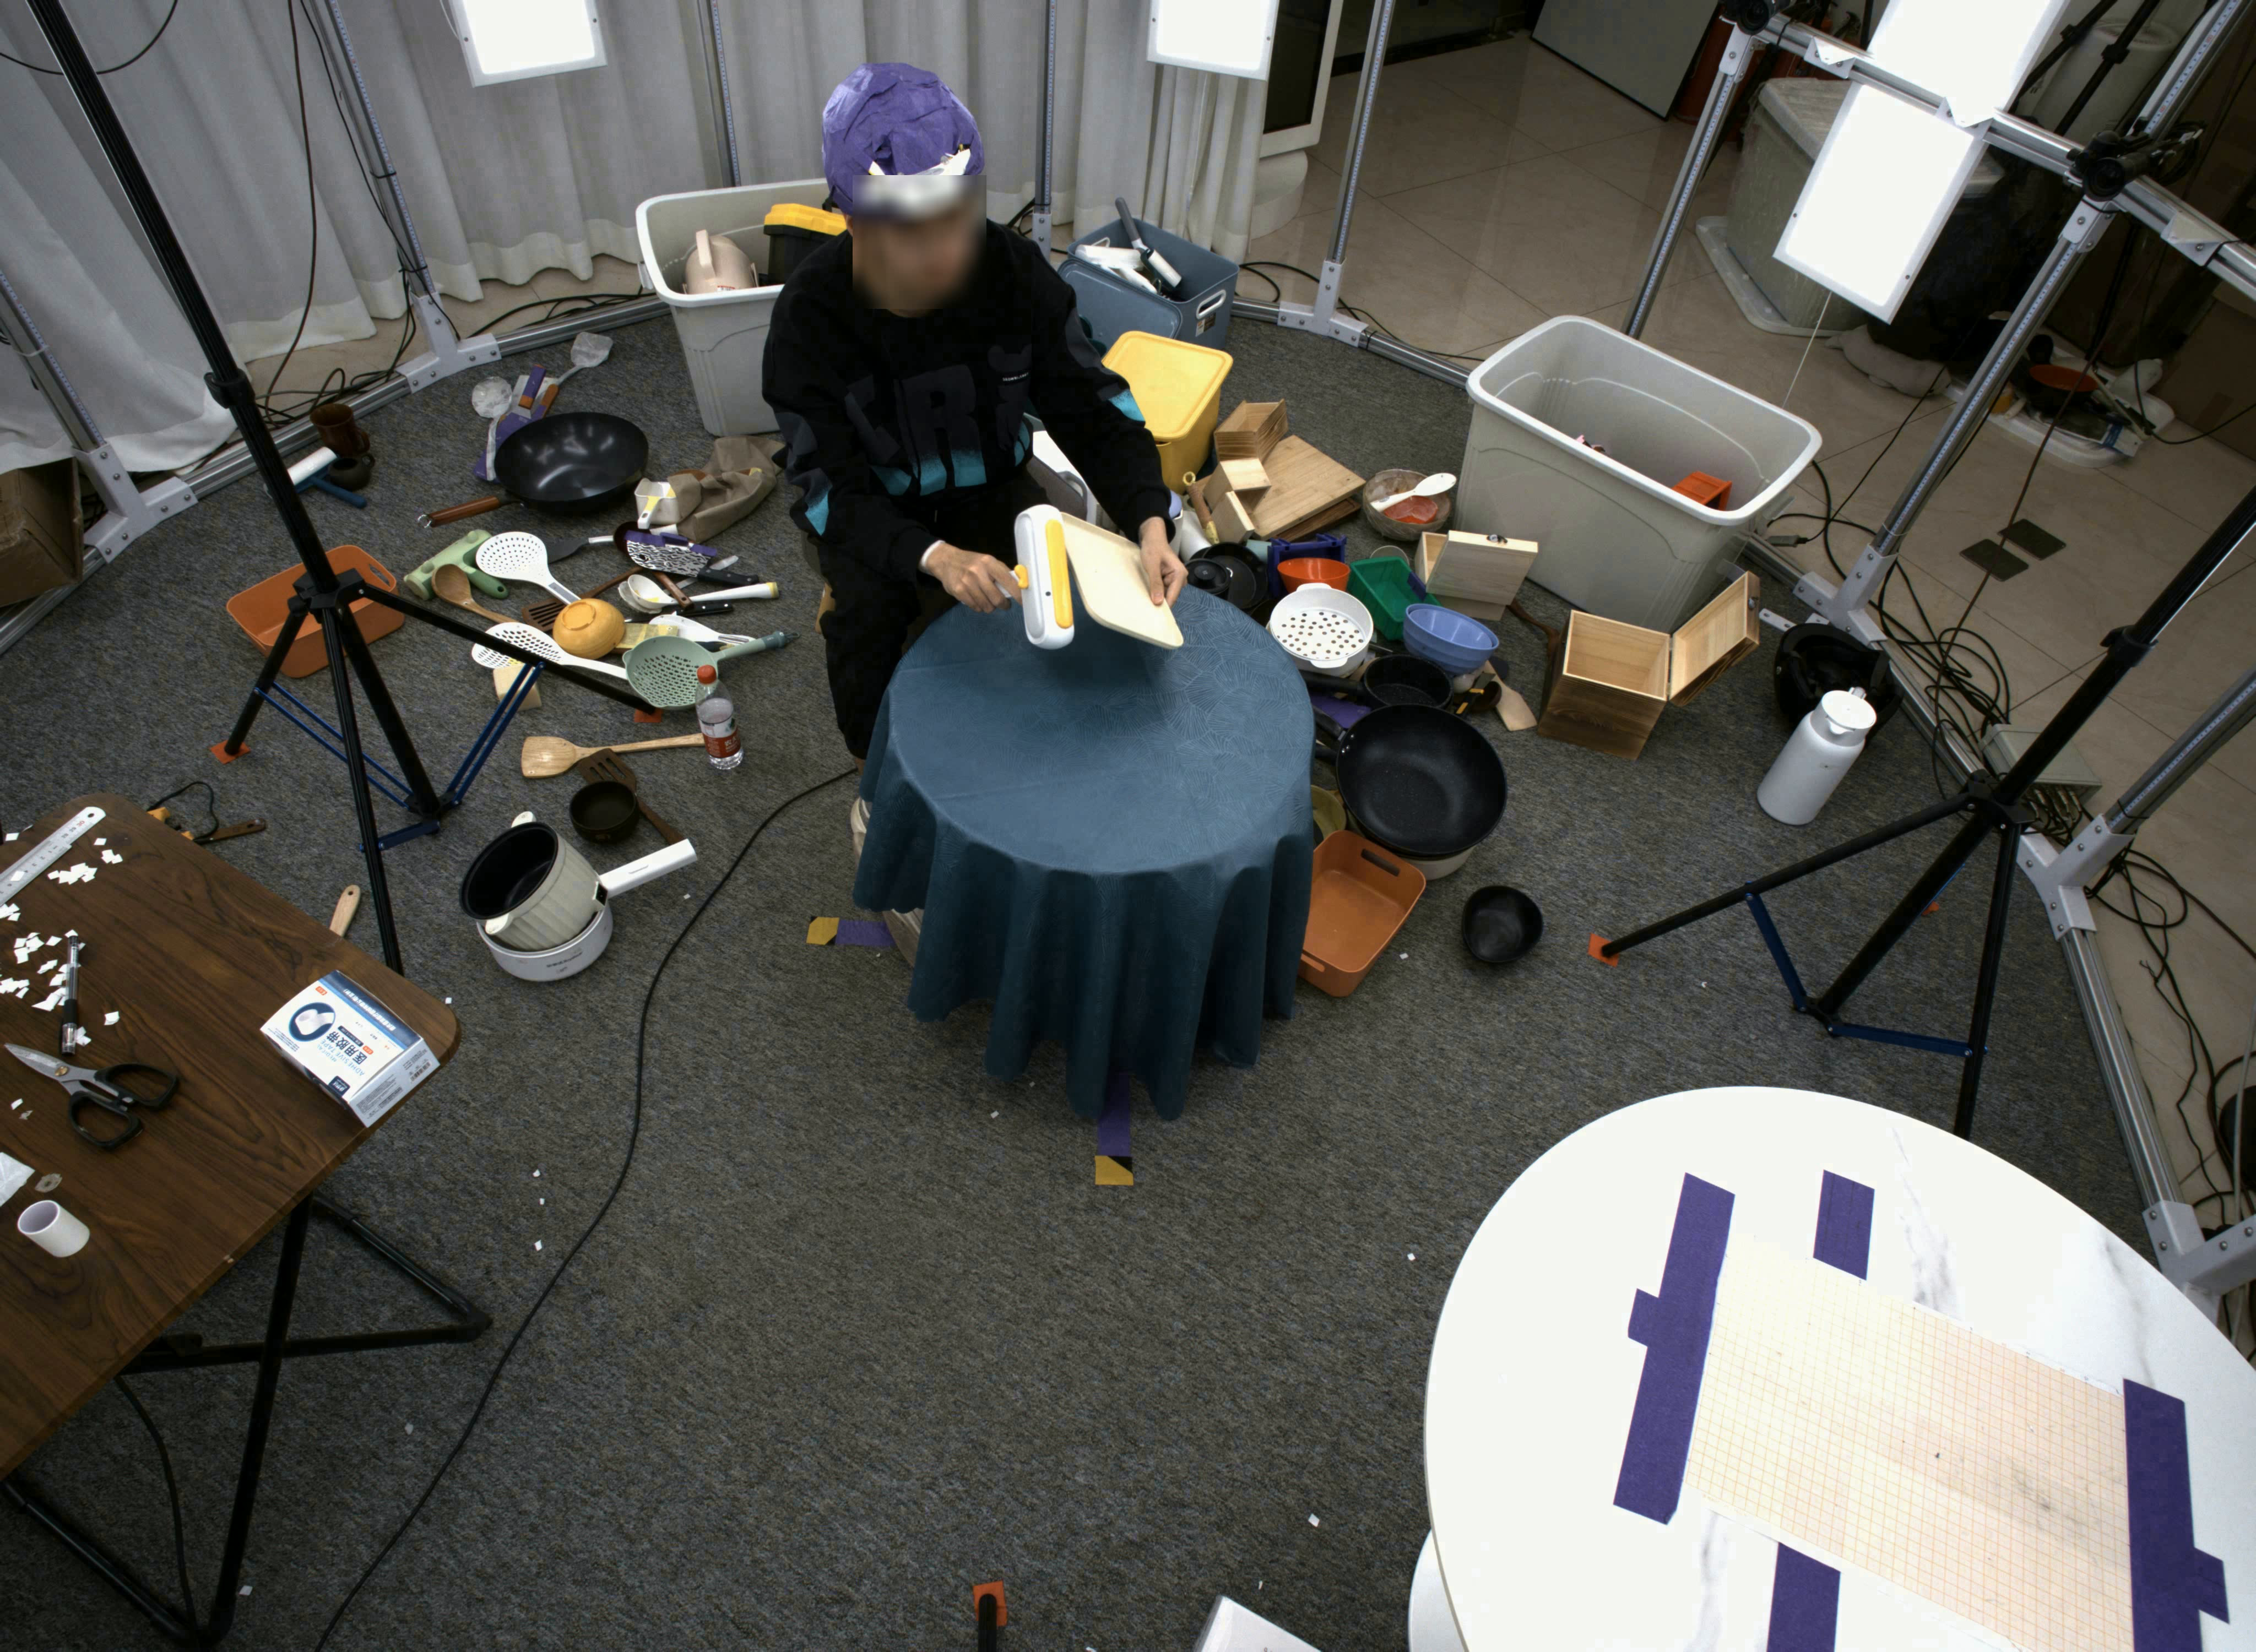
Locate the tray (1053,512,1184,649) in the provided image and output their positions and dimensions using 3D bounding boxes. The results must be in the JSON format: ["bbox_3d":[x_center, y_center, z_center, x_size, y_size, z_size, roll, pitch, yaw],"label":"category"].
[{"bbox_3d":[-0.016,-0.346,1.820,0.169,0.017,0.245,15,40,-36],"label":"tray"}]

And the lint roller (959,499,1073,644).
[{"bbox_3d":[-0.158,-0.336,1.775,0.074,0.192,0.192,-14,3,-40],"label":"lint roller"}]
